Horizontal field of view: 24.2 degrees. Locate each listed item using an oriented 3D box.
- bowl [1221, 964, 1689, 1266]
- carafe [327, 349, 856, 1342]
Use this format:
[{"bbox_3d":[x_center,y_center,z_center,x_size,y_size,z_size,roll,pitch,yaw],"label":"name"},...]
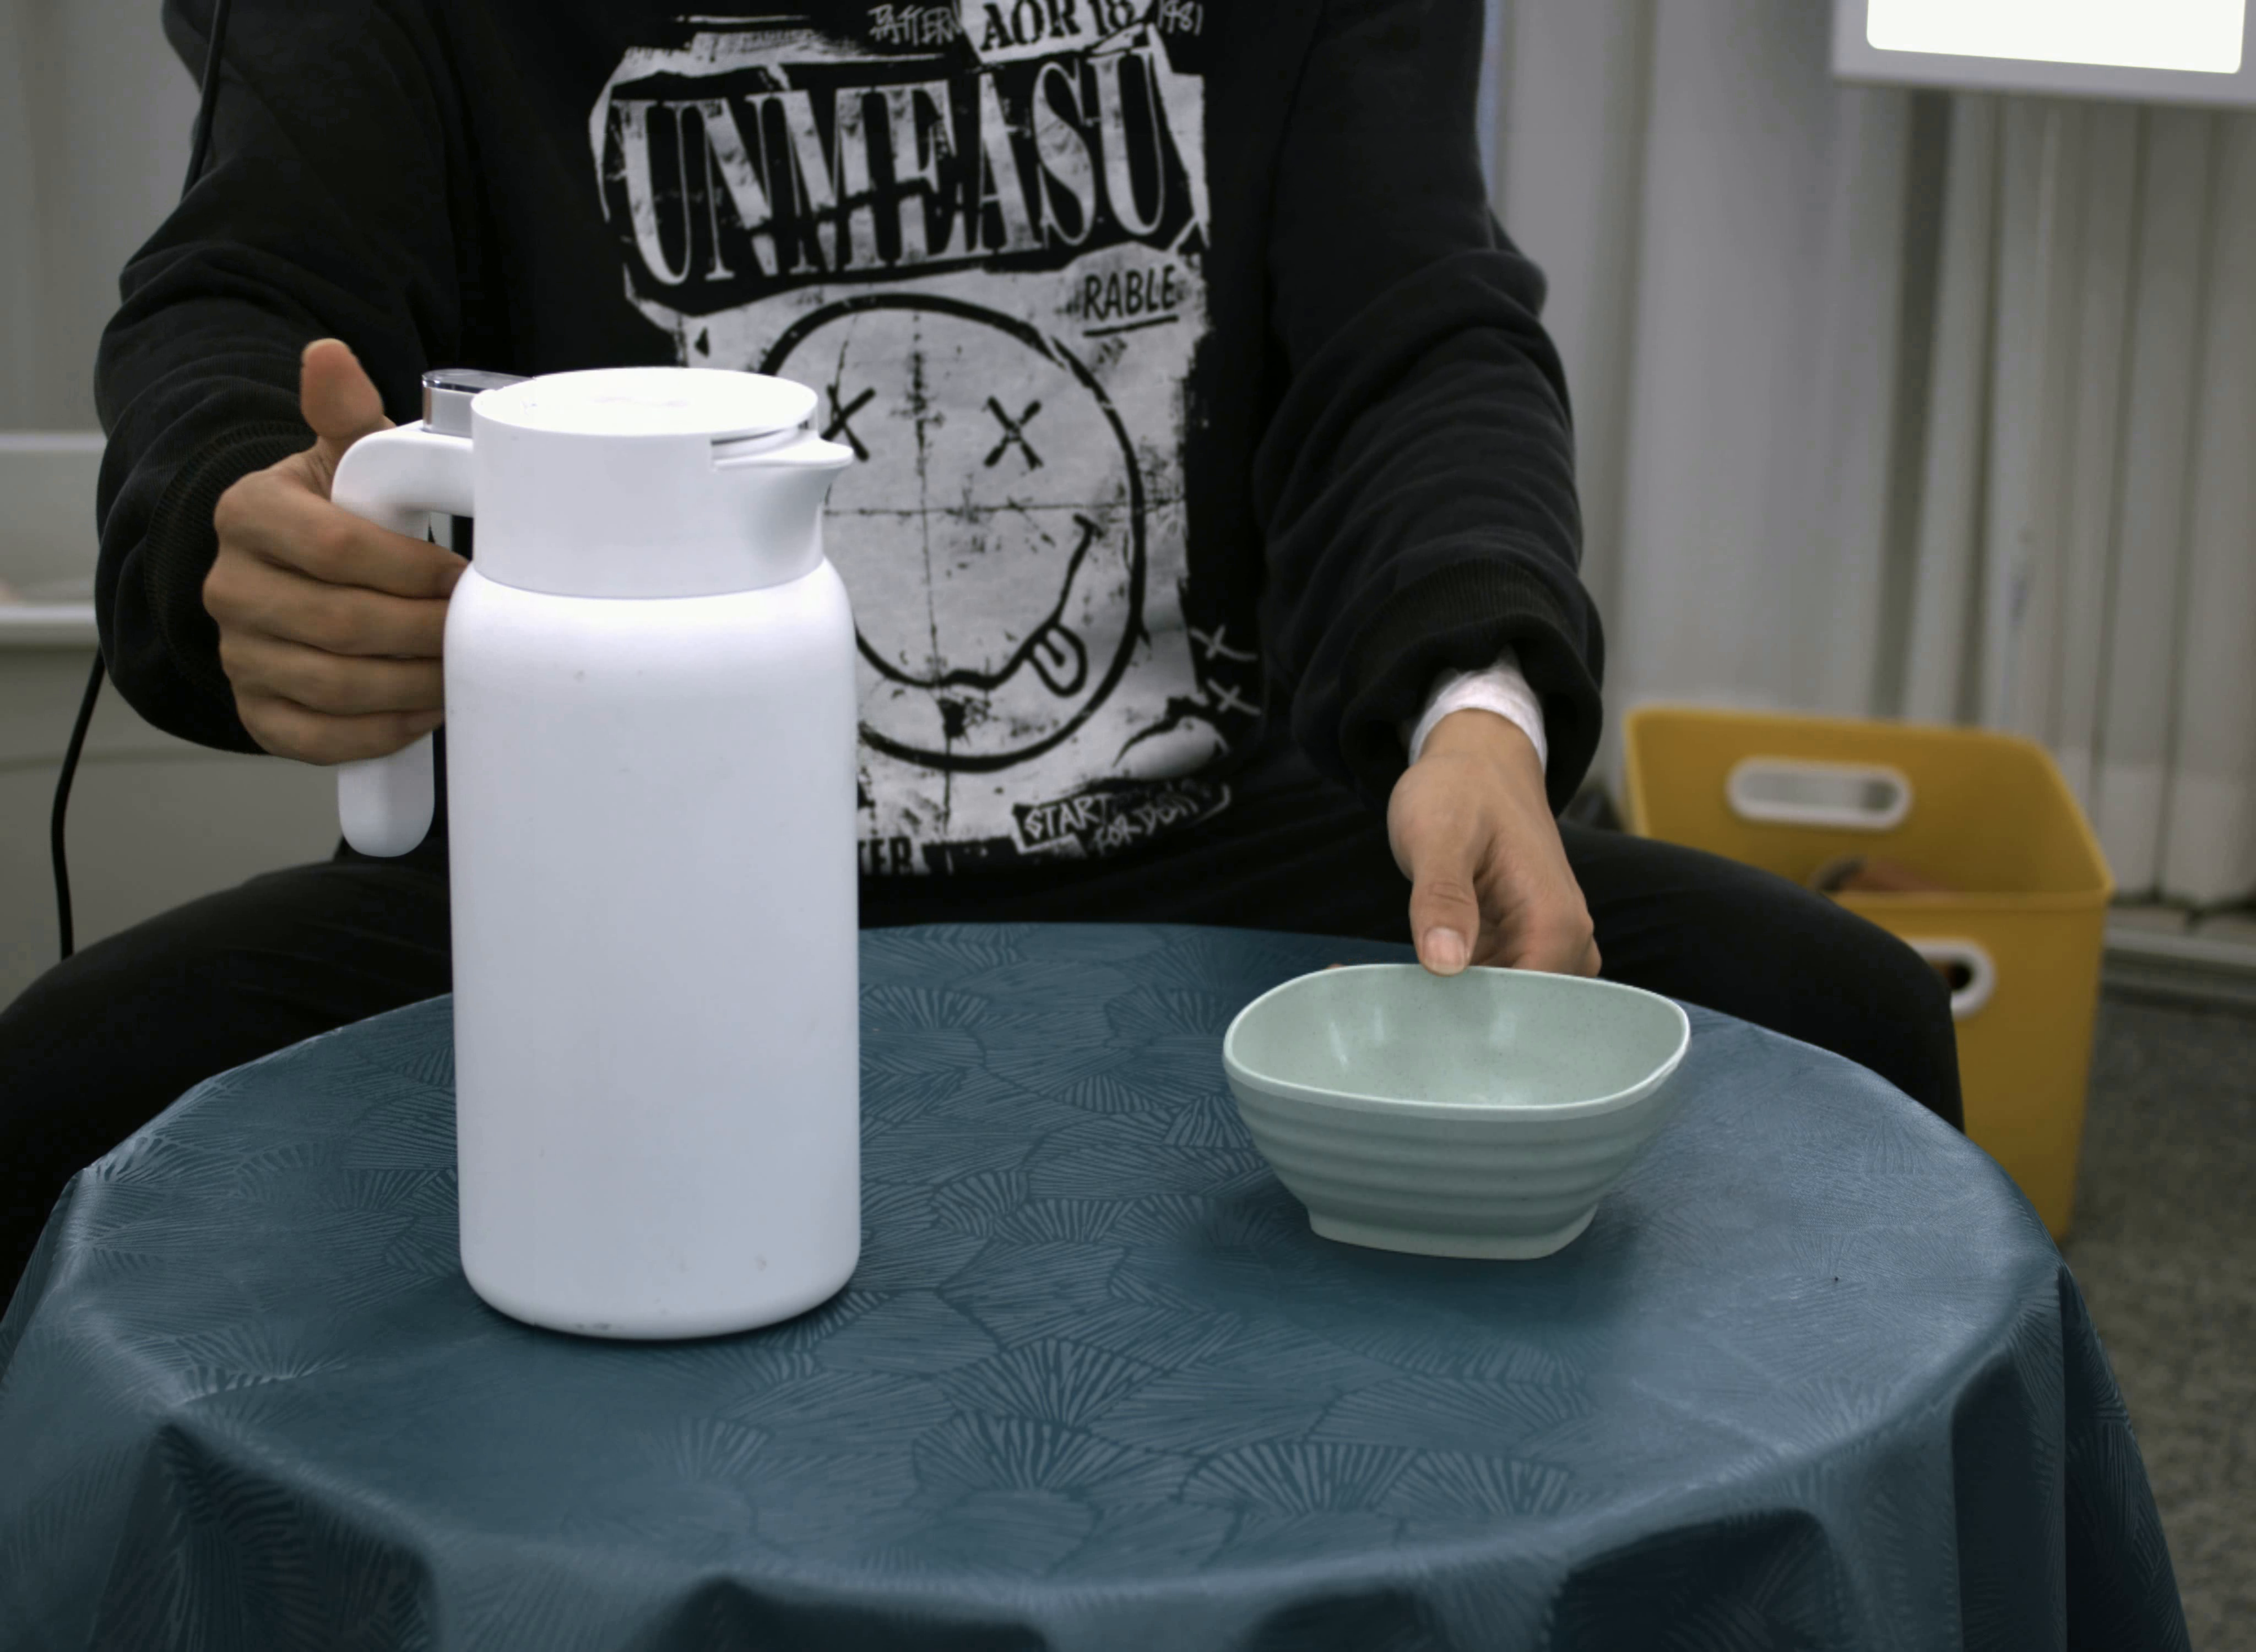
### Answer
[{"bbox_3d":[0.099,0.091,1.601,0.151,0.059,0.150,1,16,0],"label":"bowl"},{"bbox_3d":[-0.152,0.003,1.510,0.171,0.271,0.124,9,20,27],"label":"carafe"}]
